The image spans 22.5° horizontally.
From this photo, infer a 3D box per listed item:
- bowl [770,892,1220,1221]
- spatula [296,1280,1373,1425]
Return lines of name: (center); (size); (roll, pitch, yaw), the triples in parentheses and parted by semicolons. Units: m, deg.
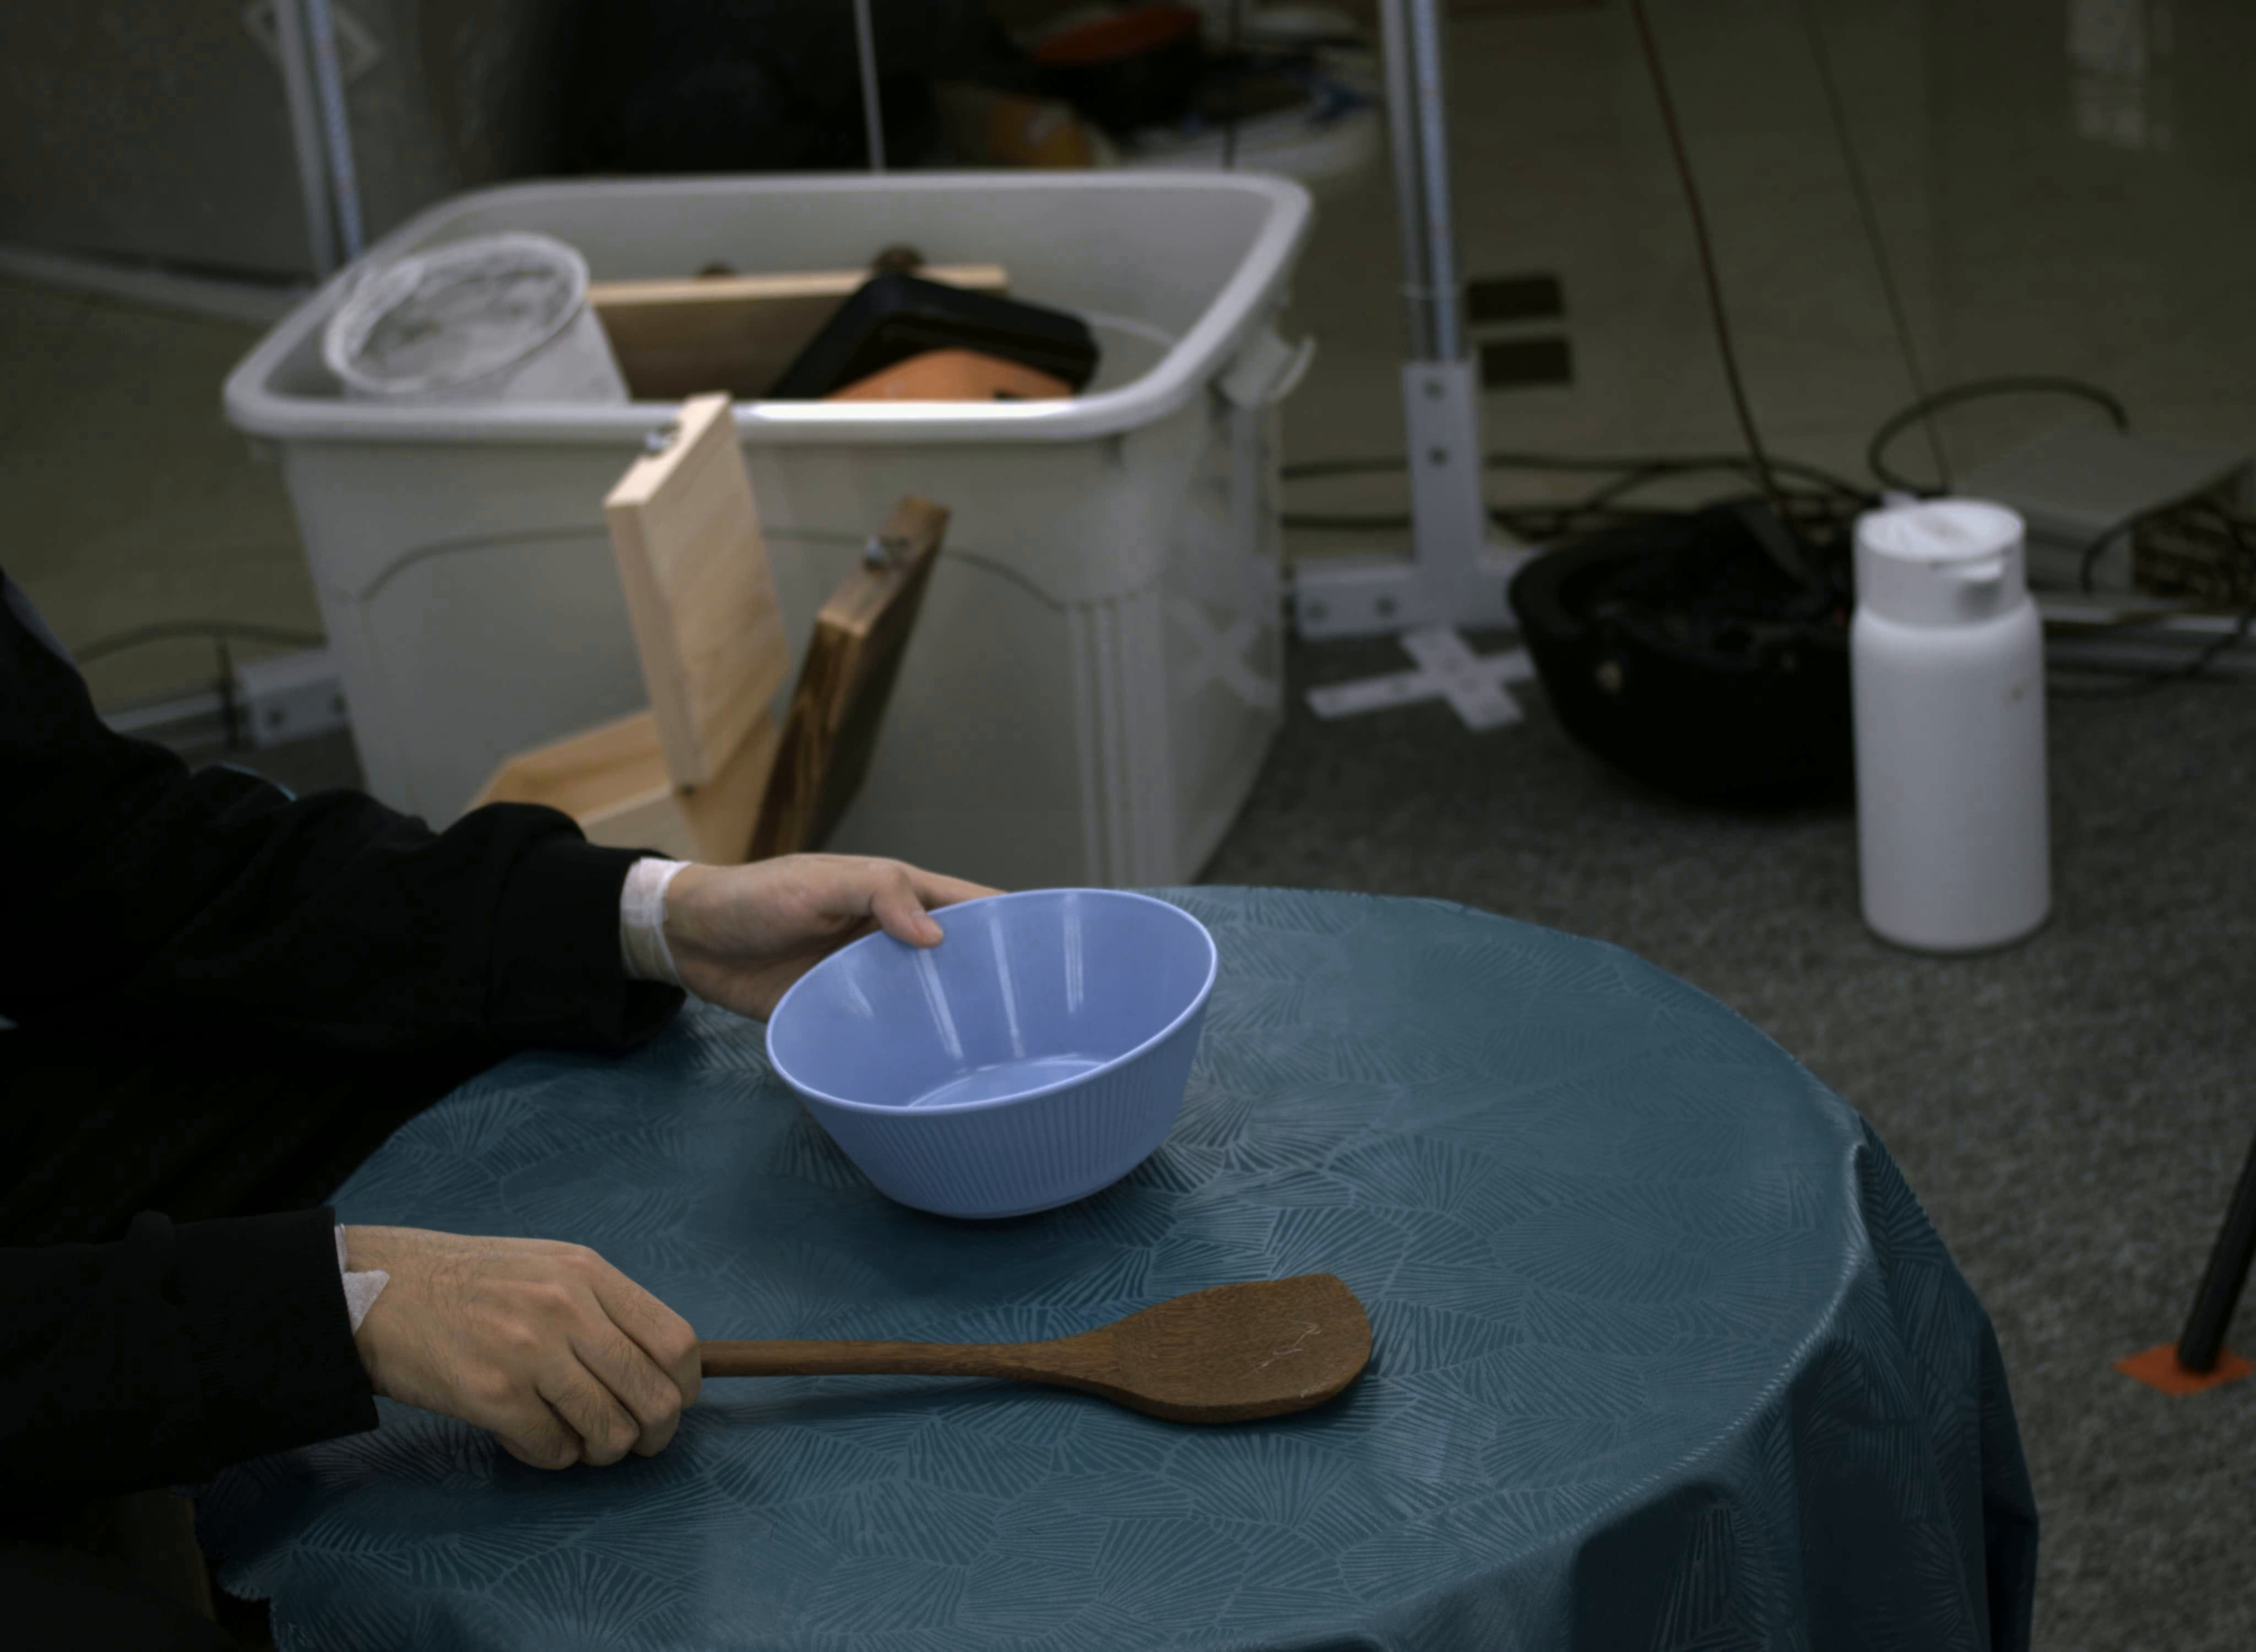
bowl: (-0.044, 0.094, 2.162); (0.176, 0.071, 0.173); (-11, 24, 5)
spatula: (-0.106, 0.191, 2.027); (0.385, 0.016, 0.095); (-1, 24, 1)
